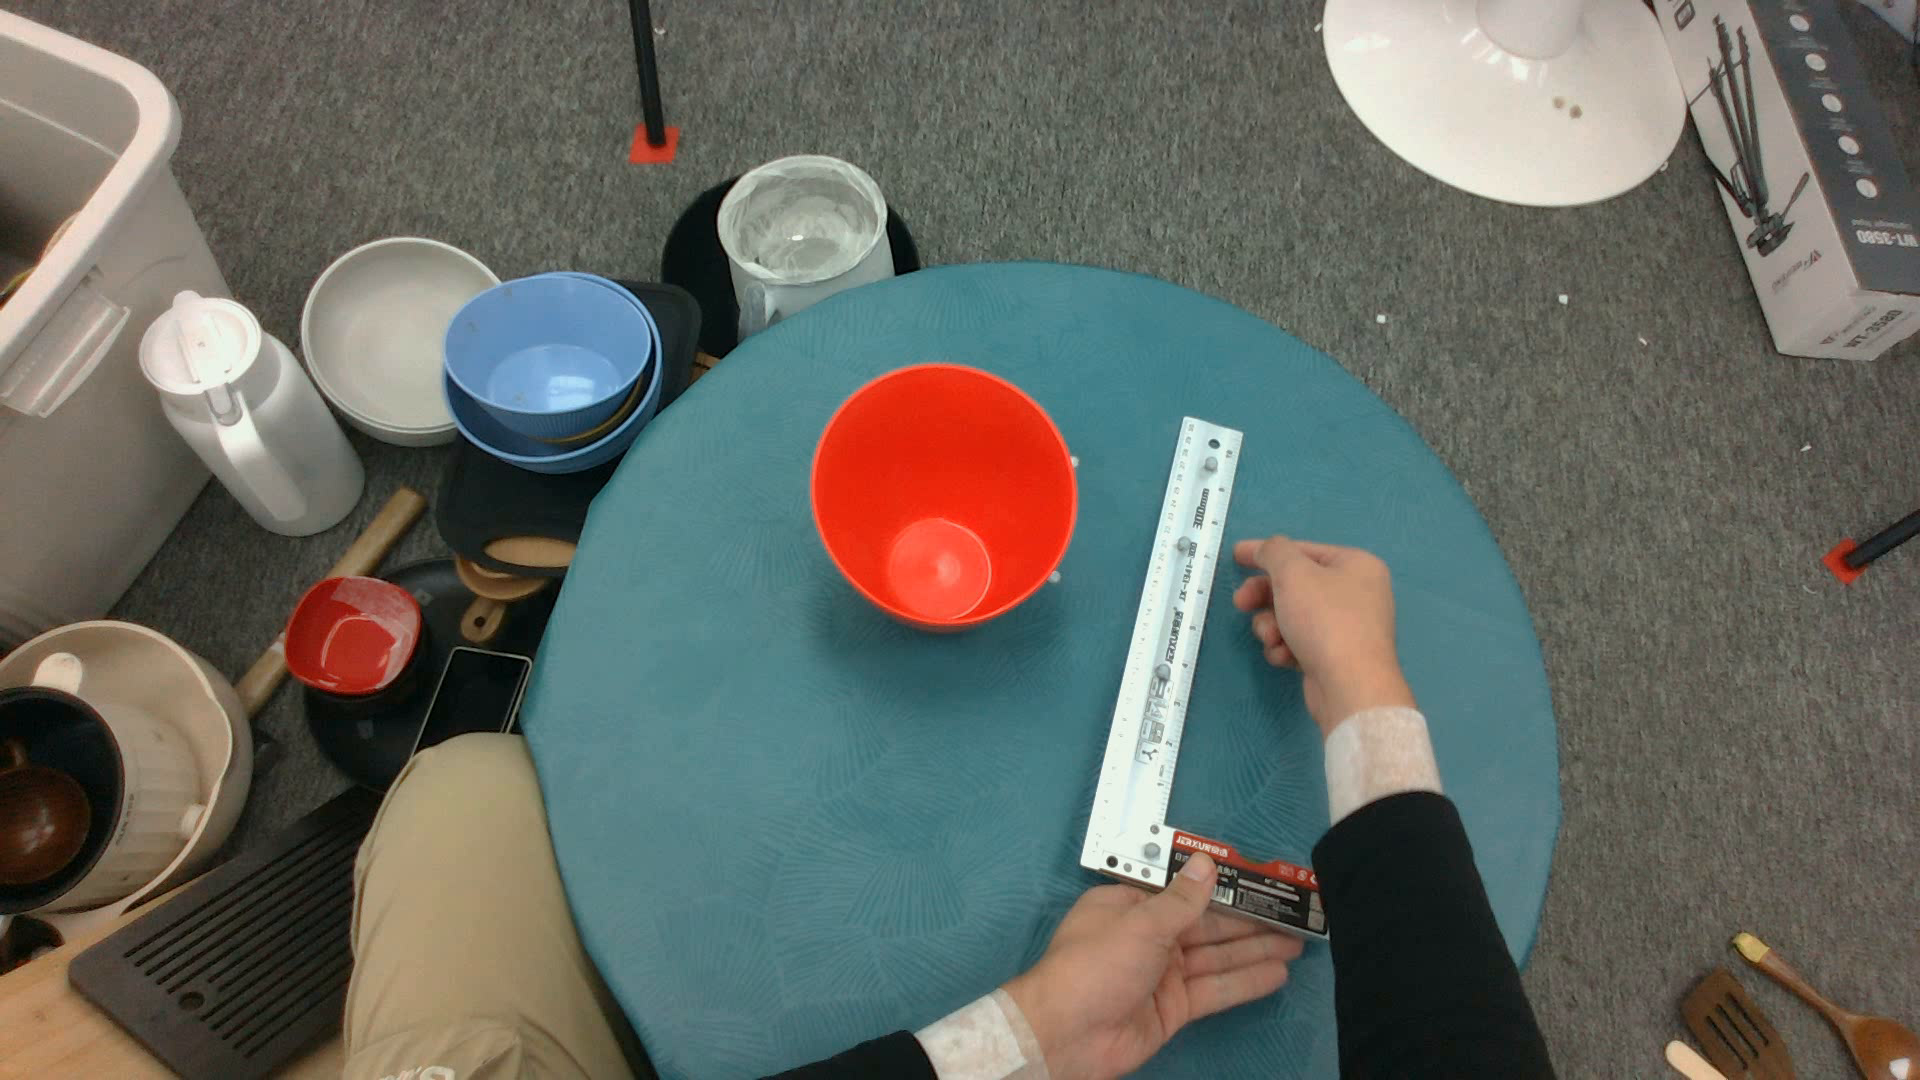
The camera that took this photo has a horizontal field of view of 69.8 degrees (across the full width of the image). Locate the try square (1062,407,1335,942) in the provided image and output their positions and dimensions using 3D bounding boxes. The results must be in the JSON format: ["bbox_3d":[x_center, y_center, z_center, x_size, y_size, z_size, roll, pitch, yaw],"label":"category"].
[{"bbox_3d":[0.165,0.065,0.818,0.152,0.016,0.314,18,60,-2],"label":"try square"}]

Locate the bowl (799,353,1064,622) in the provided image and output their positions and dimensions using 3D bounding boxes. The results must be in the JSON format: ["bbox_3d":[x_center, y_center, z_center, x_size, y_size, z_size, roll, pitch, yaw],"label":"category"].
[{"bbox_3d":[-0.019,-0.017,0.791,0.148,0.104,0.148,3,65,-7],"label":"bowl"}]
